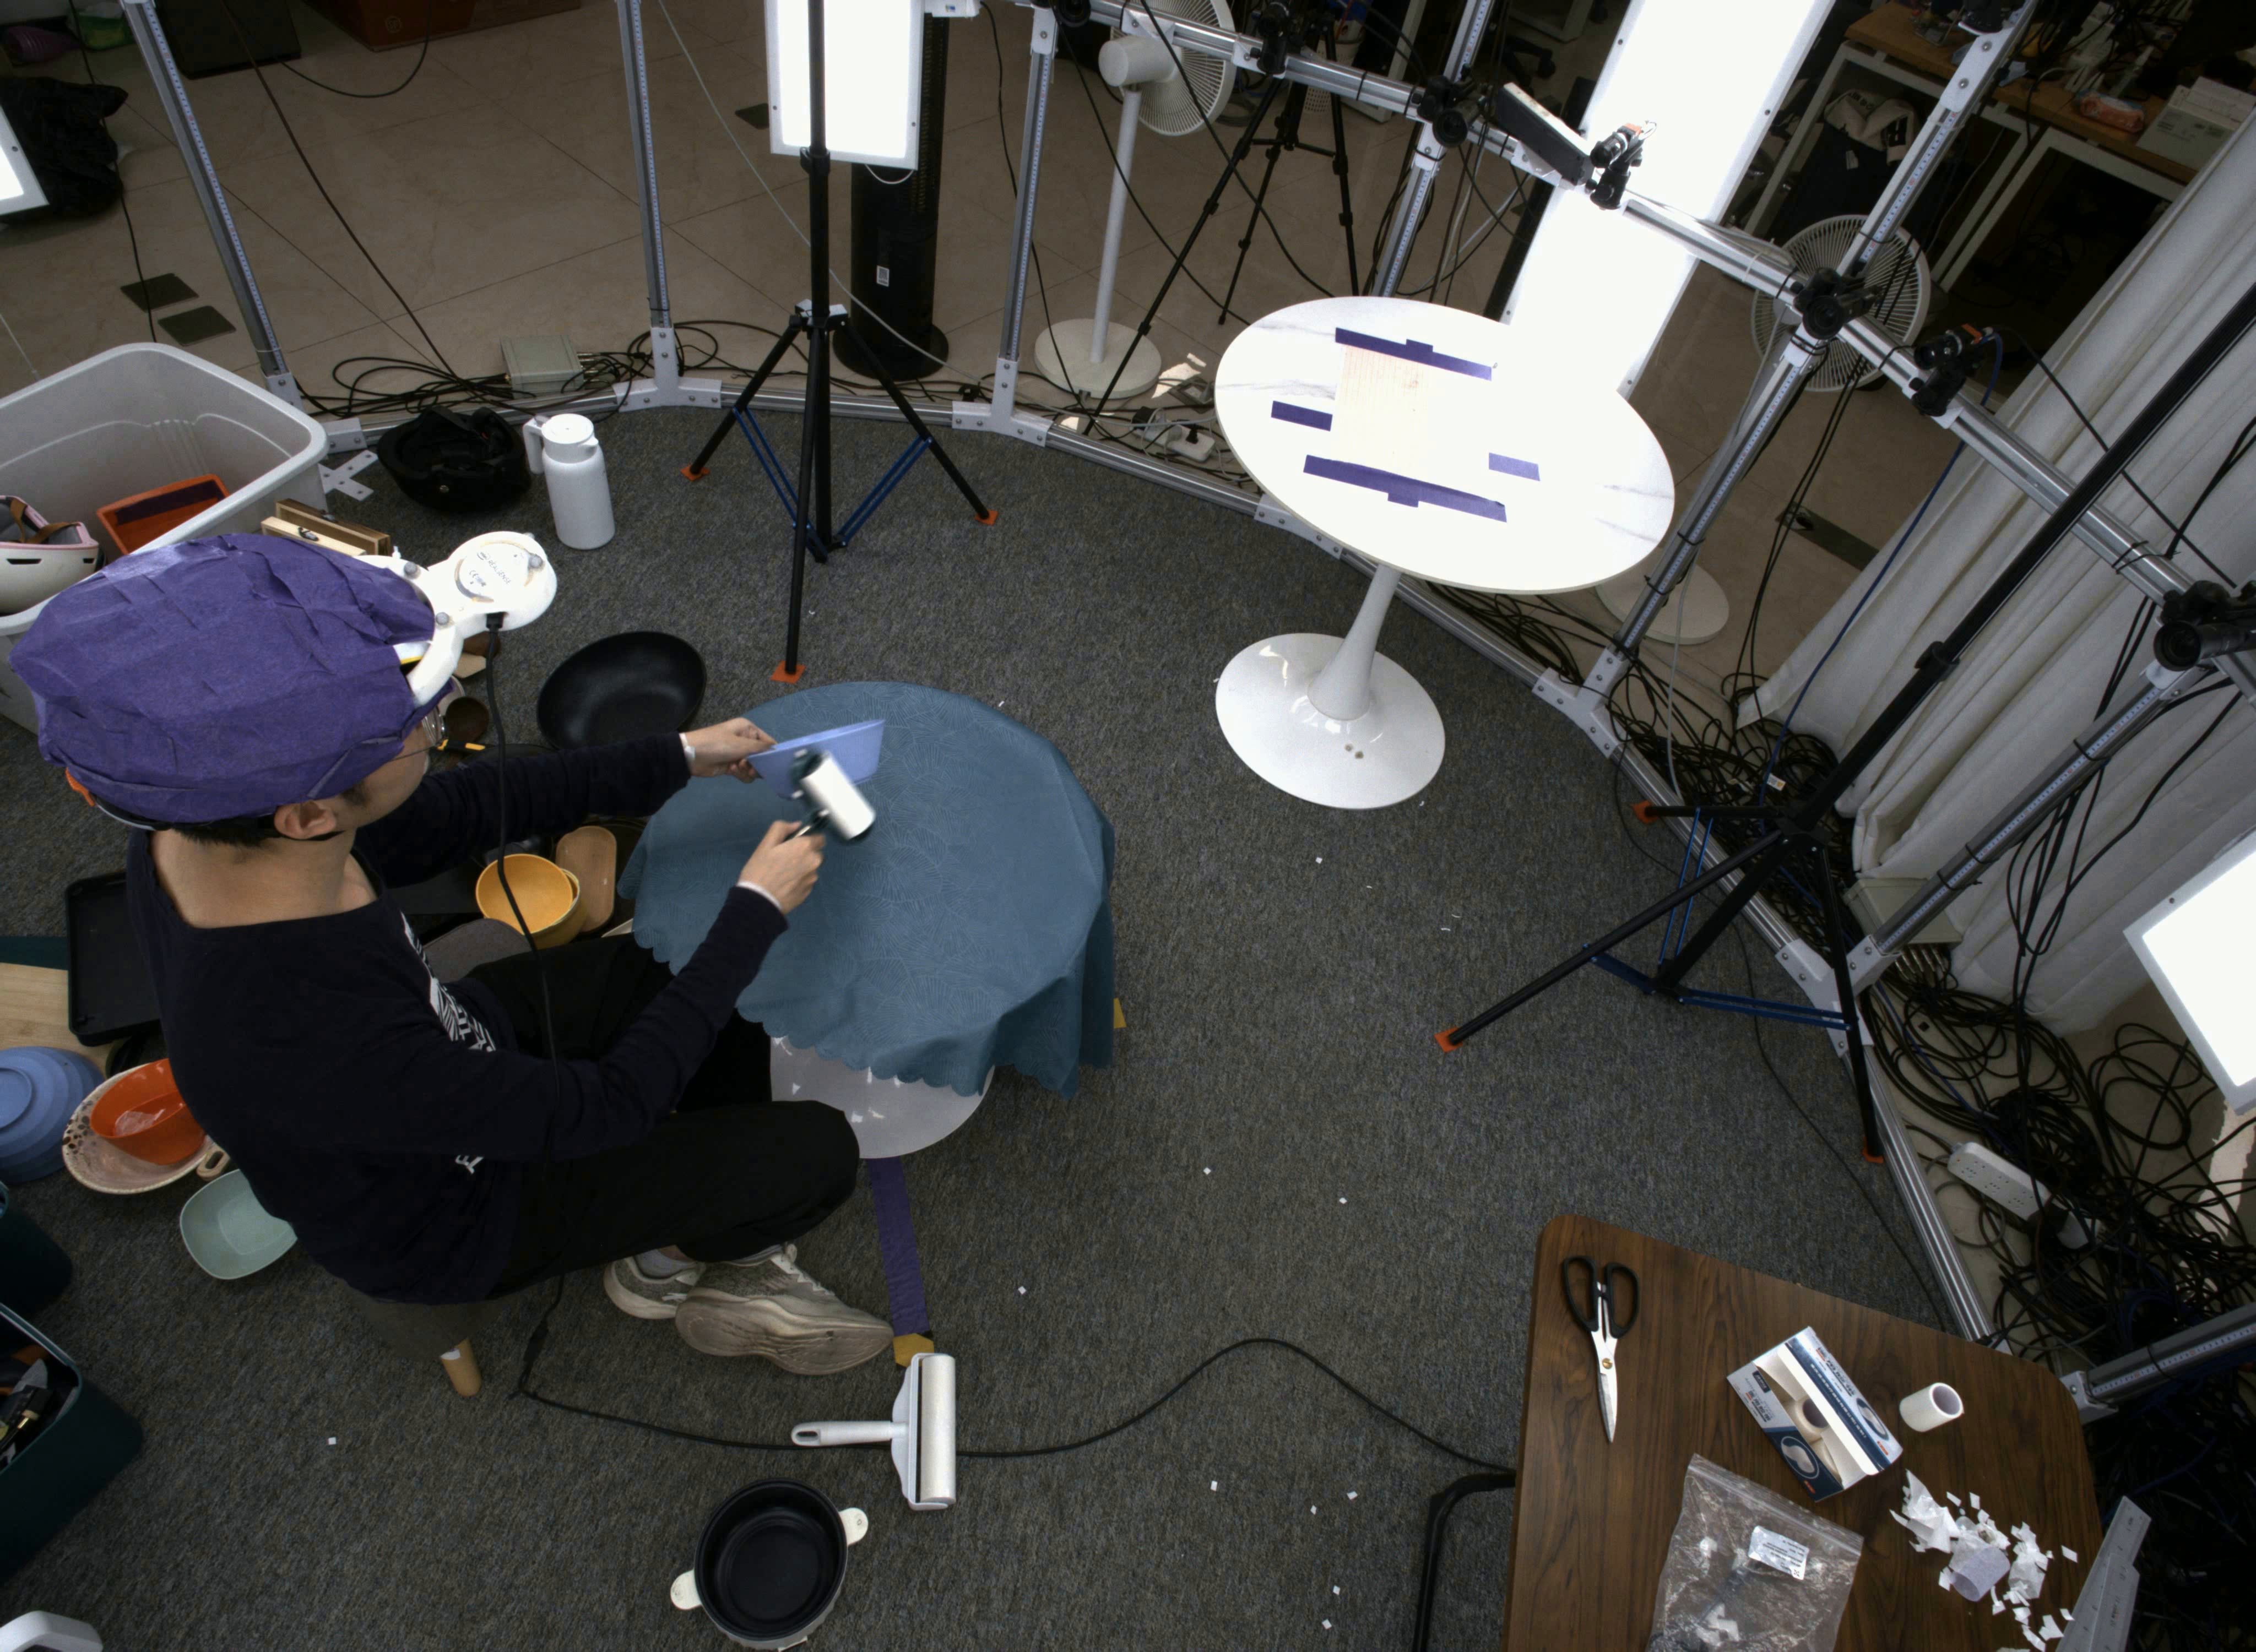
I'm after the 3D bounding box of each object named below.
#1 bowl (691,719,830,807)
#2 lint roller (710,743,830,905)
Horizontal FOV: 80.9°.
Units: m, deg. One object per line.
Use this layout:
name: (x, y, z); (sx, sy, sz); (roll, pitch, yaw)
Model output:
bowl: (-0.442, -0.074, 1.594); (0.177, 0.171, 0.072); (-22, 101, -27)
lint roller: (-0.420, 0.014, 1.485); (0.047, 0.139, 0.178); (-4, 47, 31)
